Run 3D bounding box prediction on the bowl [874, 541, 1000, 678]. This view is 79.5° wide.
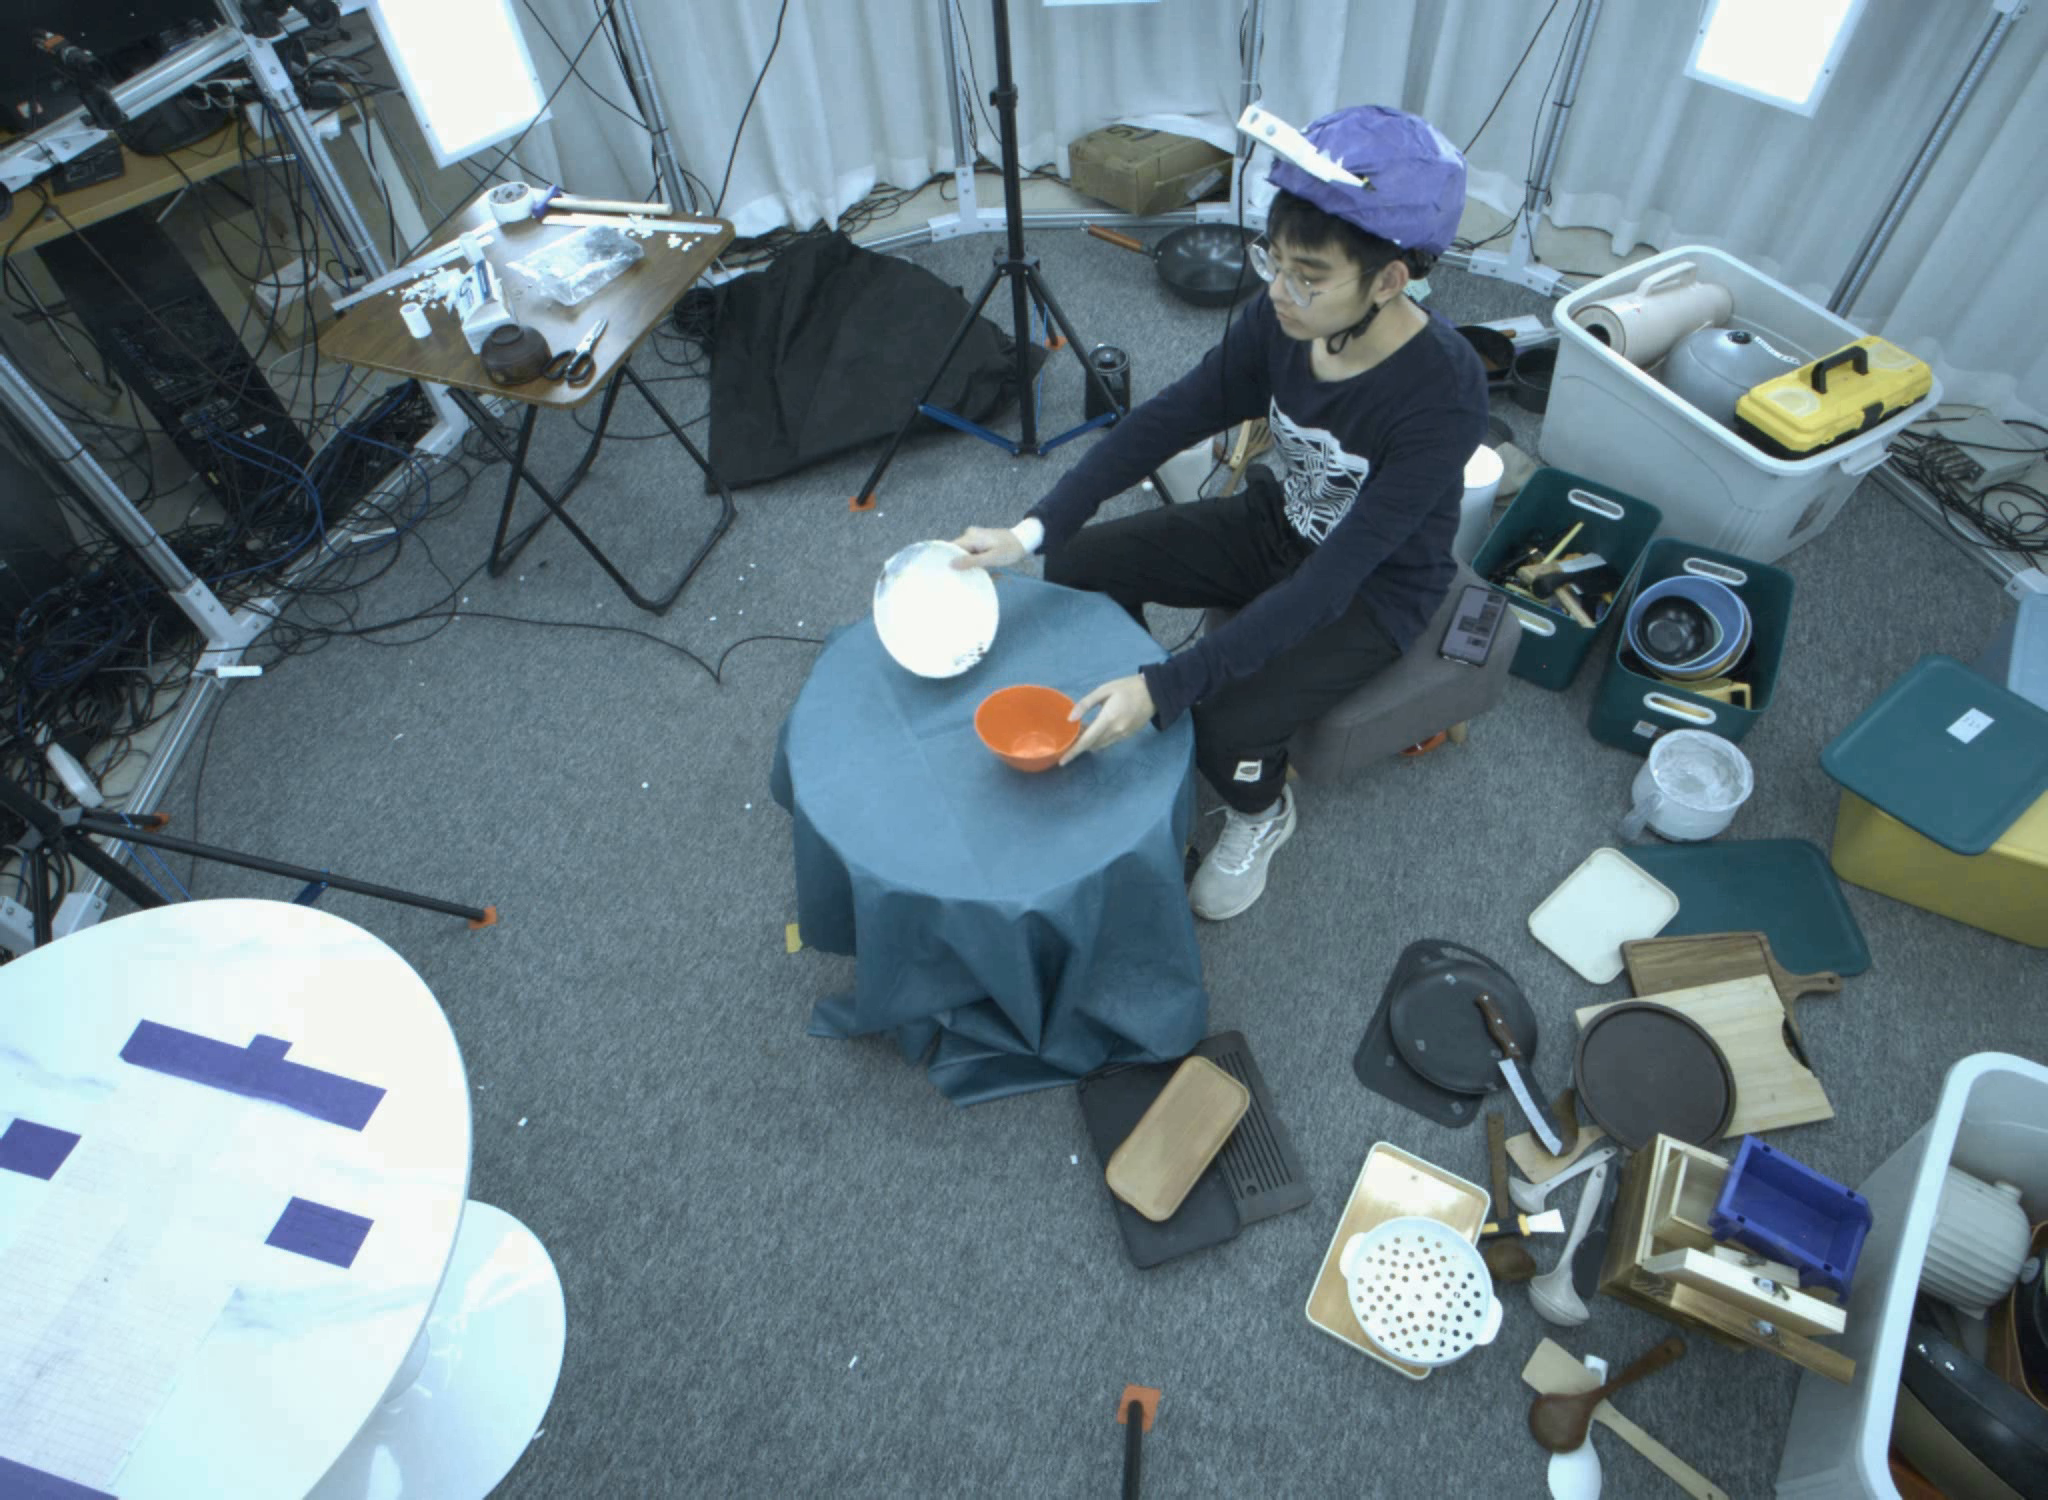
[{"bbox_3d":[-0.144,-0.209,1.849,0.205,0.206,0.076,-40,19,-23],"label":"bowl"}]

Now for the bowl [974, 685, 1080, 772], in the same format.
[{"bbox_3d":[0.006,-0.017,1.745,0.148,0.106,0.146,0,53,1],"label":"bowl"}]
